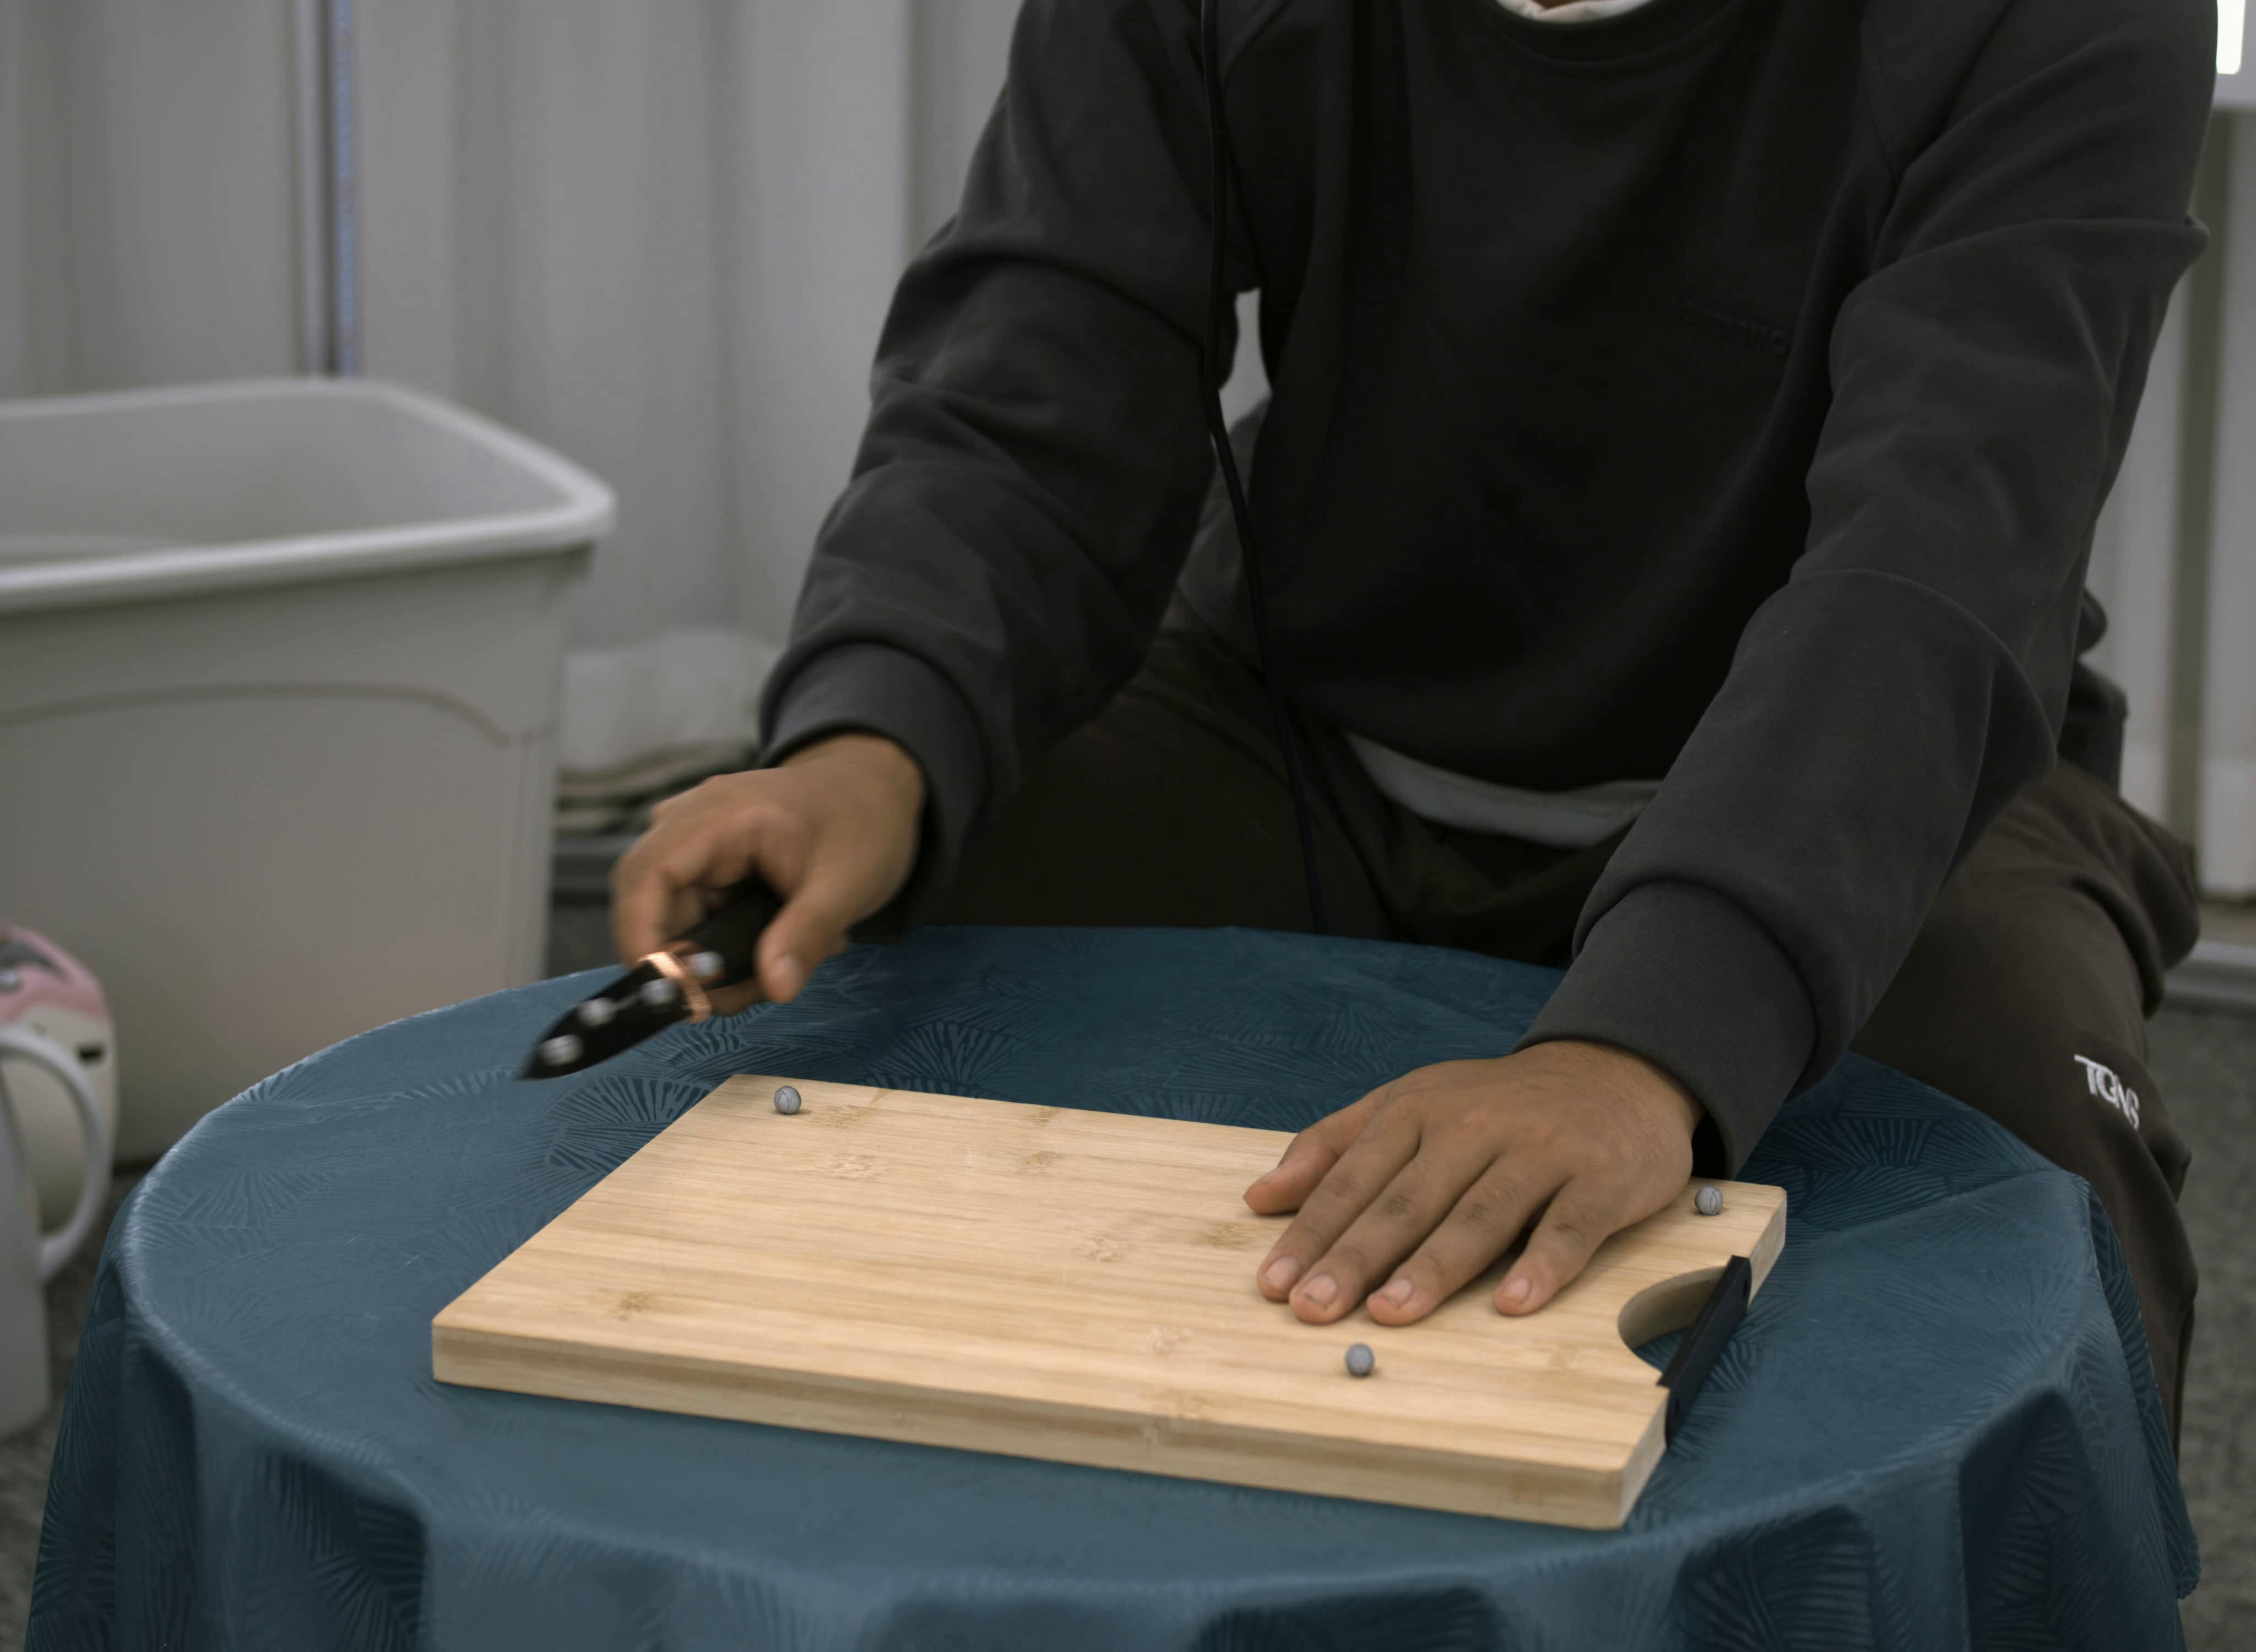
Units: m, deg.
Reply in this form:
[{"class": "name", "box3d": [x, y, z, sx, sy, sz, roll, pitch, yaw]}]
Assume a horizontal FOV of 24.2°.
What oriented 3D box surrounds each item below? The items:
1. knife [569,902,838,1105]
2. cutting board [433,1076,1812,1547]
[{"class": "knife", "box3d": [-0.132, 0.053, 1.622, 0.017, 0.026, 0.226, -41, -2, 20]}, {"class": "cutting board", "box3d": [0.007, 0.133, 1.522, 0.346, 0.024, 0.250, 5, 16, 15]}]
